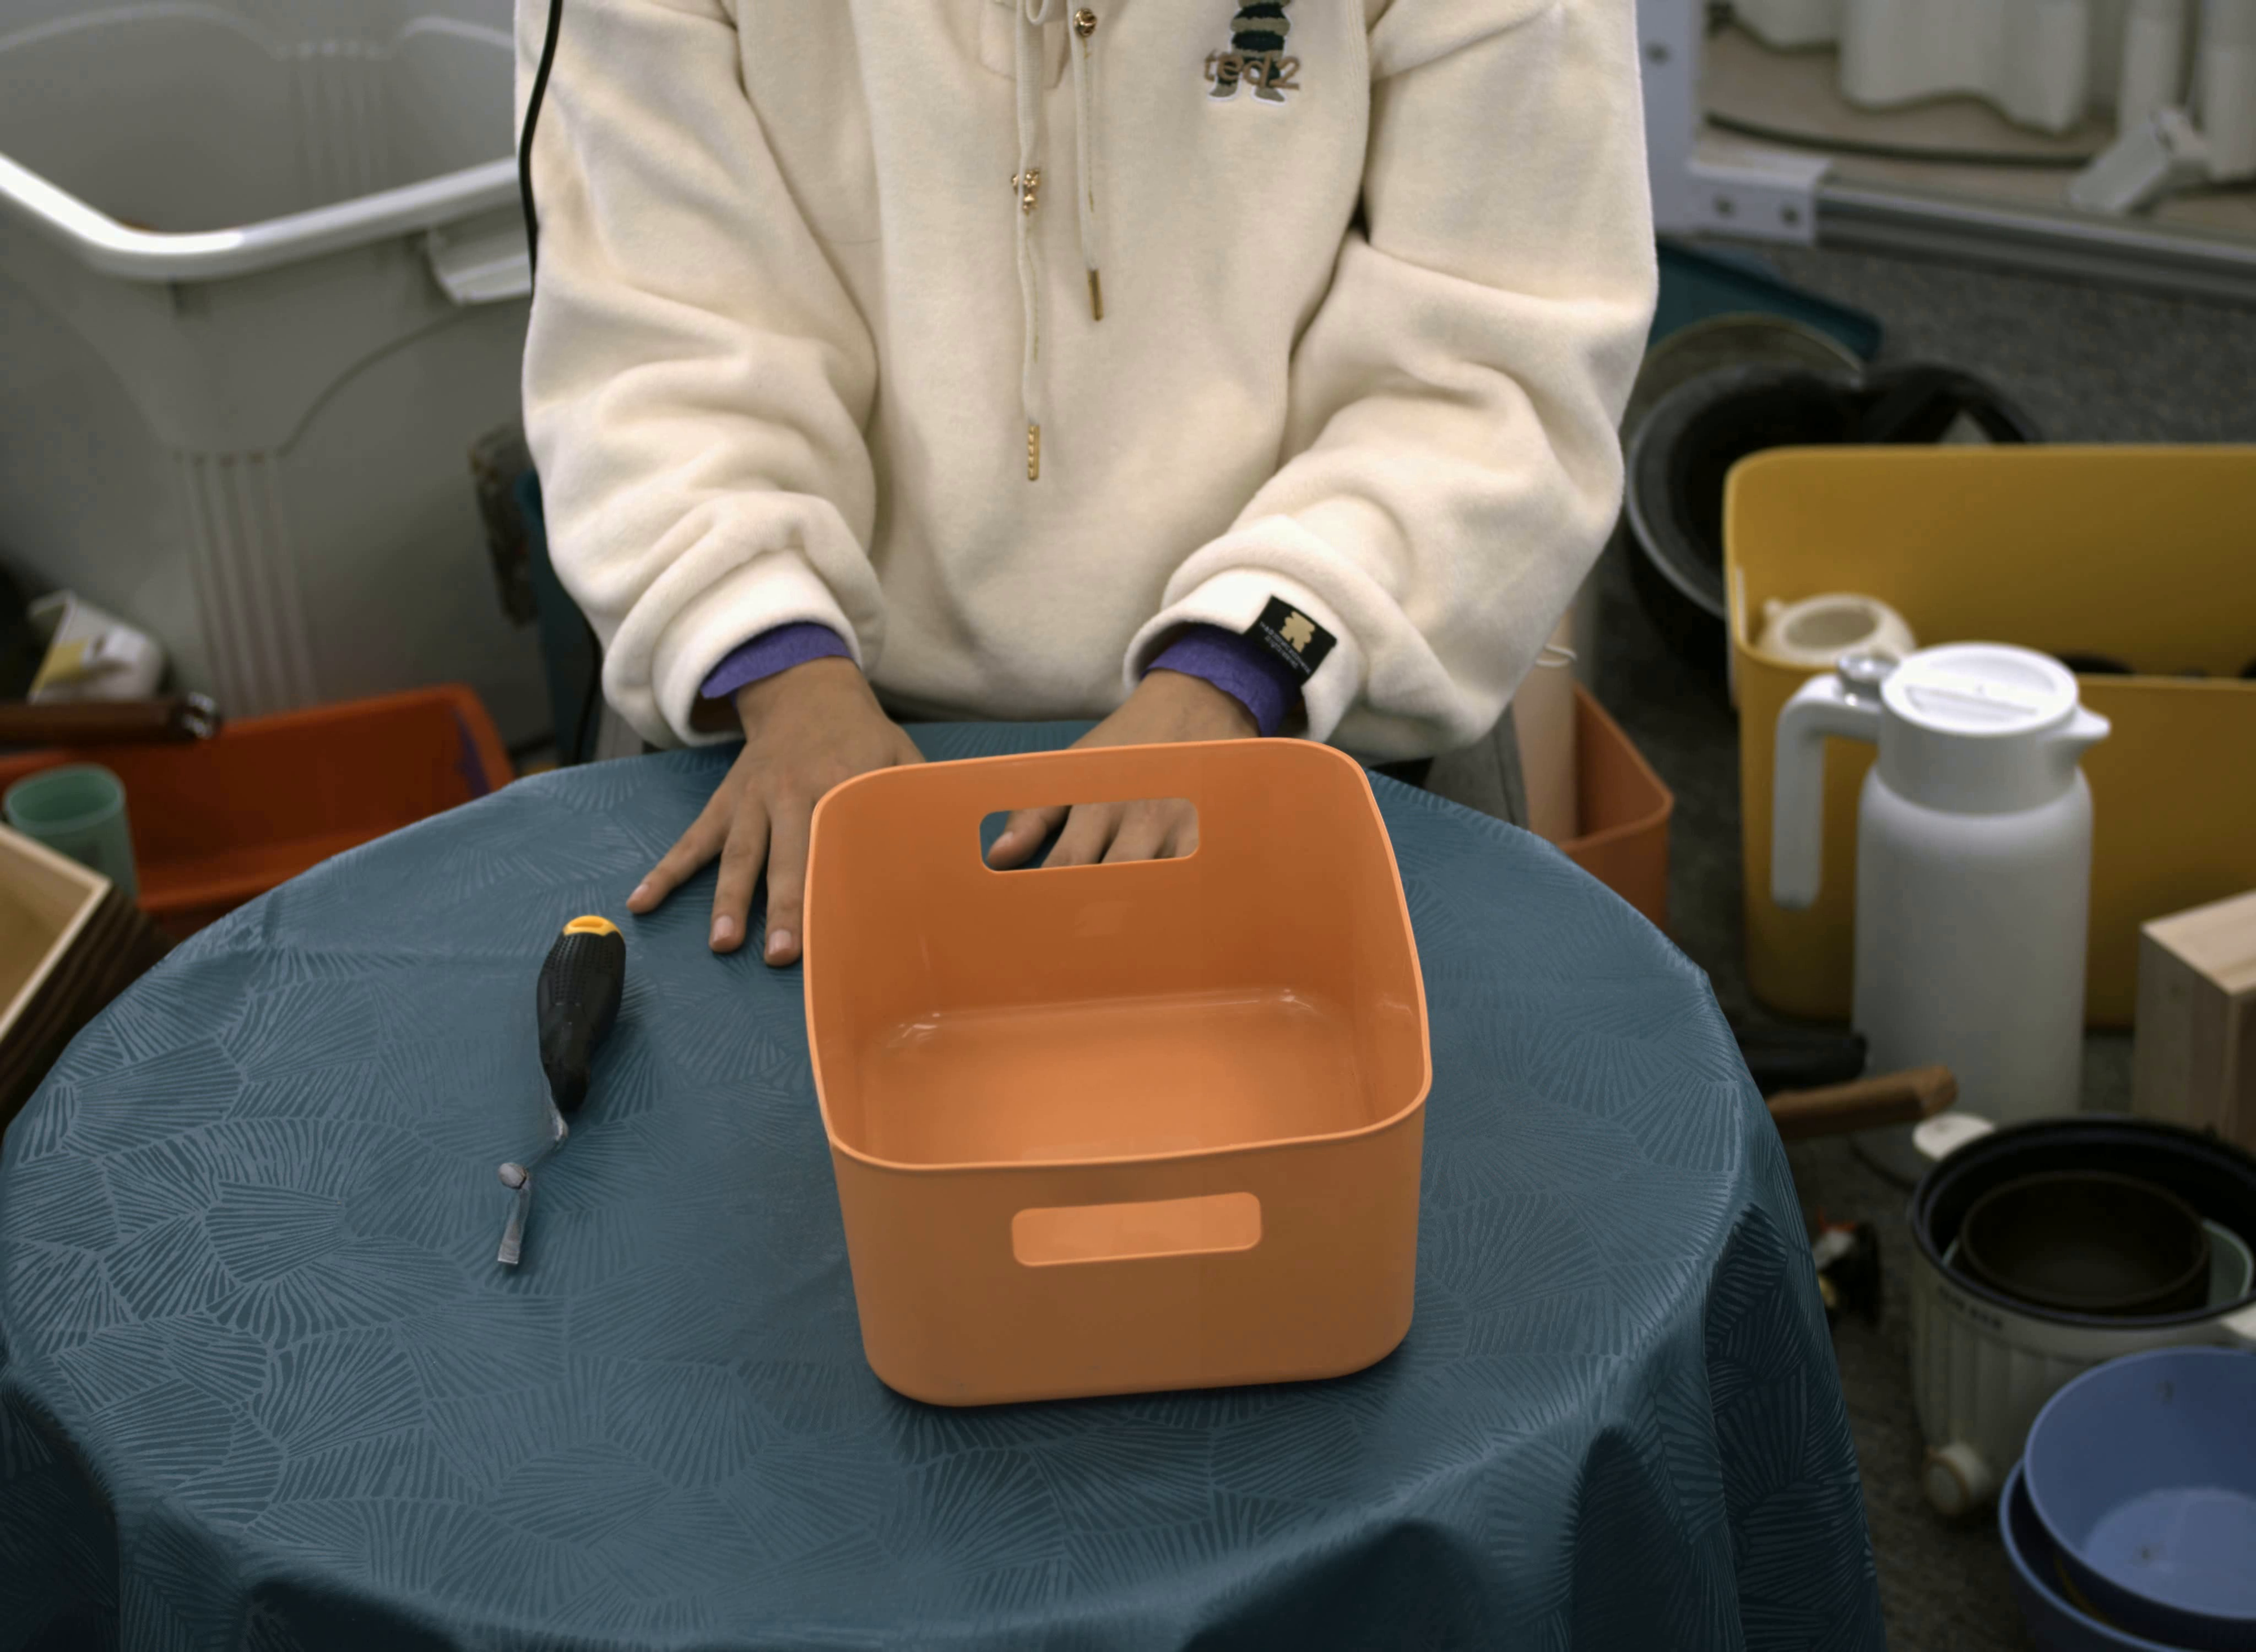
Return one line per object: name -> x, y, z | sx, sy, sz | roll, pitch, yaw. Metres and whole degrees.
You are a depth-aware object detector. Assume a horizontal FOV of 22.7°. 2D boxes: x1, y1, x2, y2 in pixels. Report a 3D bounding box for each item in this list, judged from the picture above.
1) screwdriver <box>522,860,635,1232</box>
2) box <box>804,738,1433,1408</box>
screwdriver -> -0.188, 0.076, 1.918 | 0.031, 0.031, 0.201 | -2, 36, 1
box -> -0.003, 0.079, 1.832 | 0.198, 0.101, 0.277 | -5, 27, -2
